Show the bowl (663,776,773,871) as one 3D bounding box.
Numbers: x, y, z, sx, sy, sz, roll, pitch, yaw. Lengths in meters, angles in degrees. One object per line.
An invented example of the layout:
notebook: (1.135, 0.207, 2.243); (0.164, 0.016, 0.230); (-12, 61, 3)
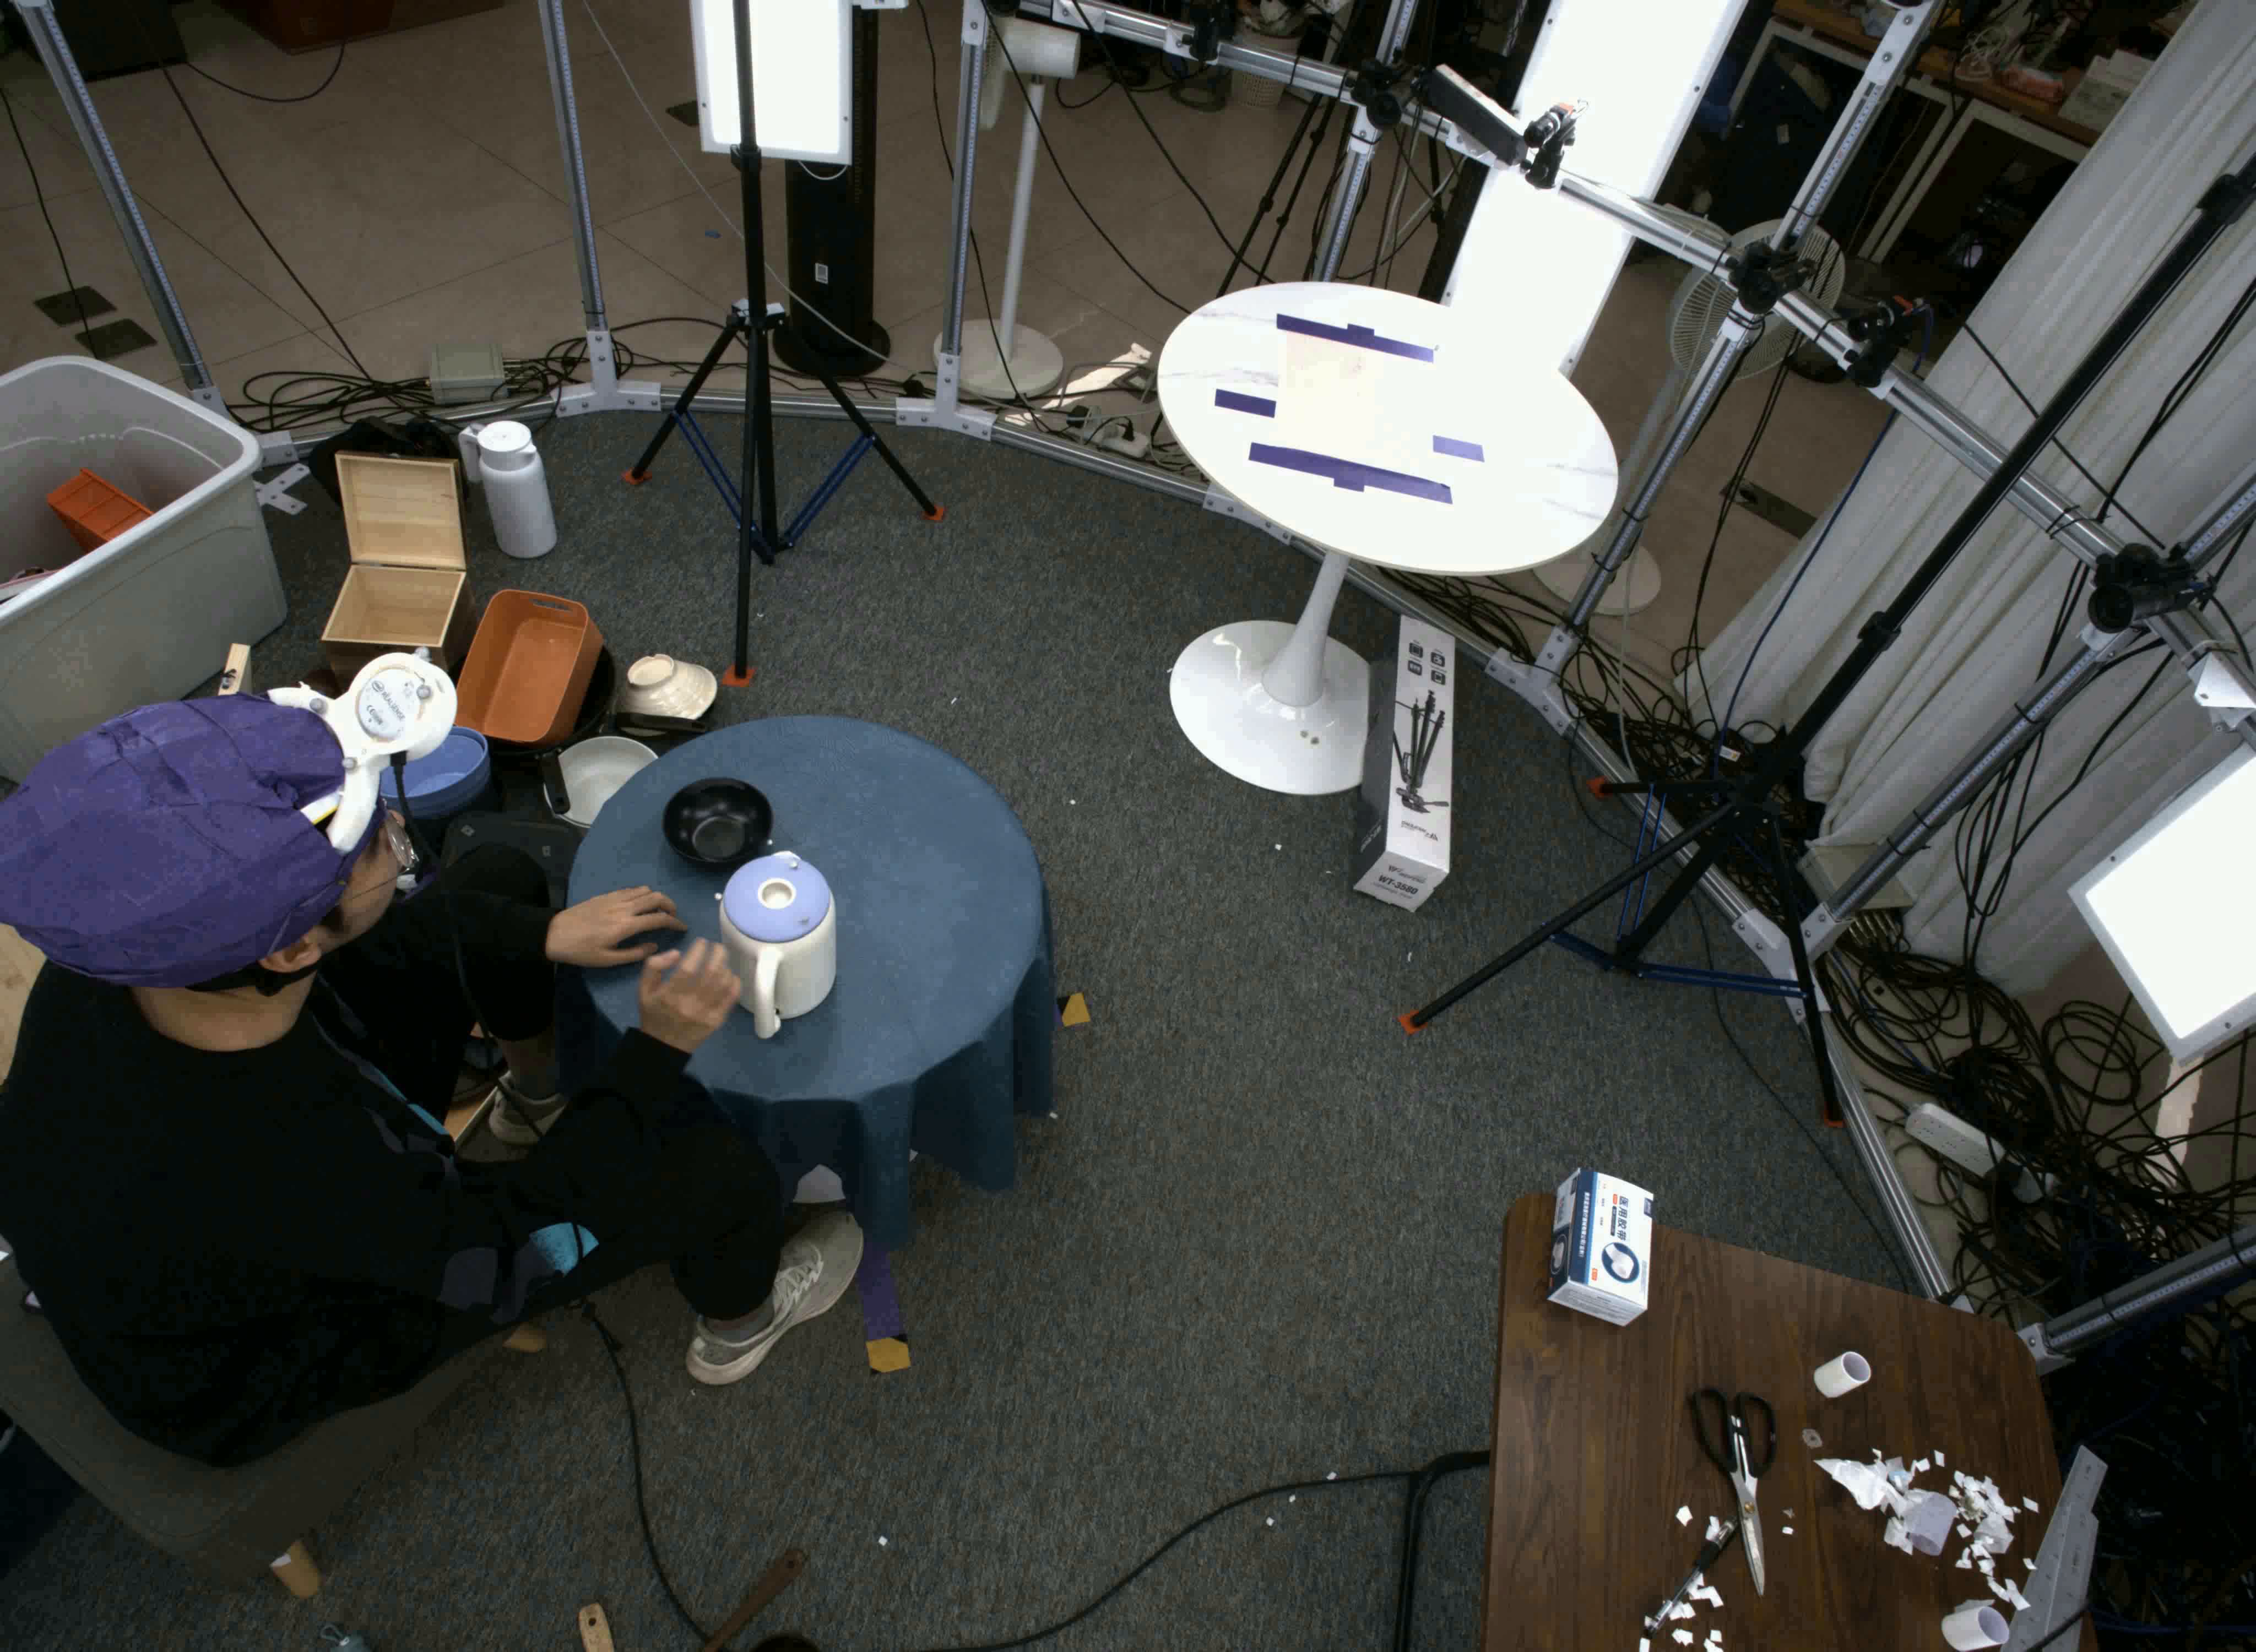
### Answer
bowl: (-0.528, 0.004, 1.668); (0.140, 0.051, 0.137); (7, 55, -8)

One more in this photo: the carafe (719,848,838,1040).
carafe: (-0.410, 0.149, 1.514); (0.132, 0.186, 0.187); (4, 55, -9)
